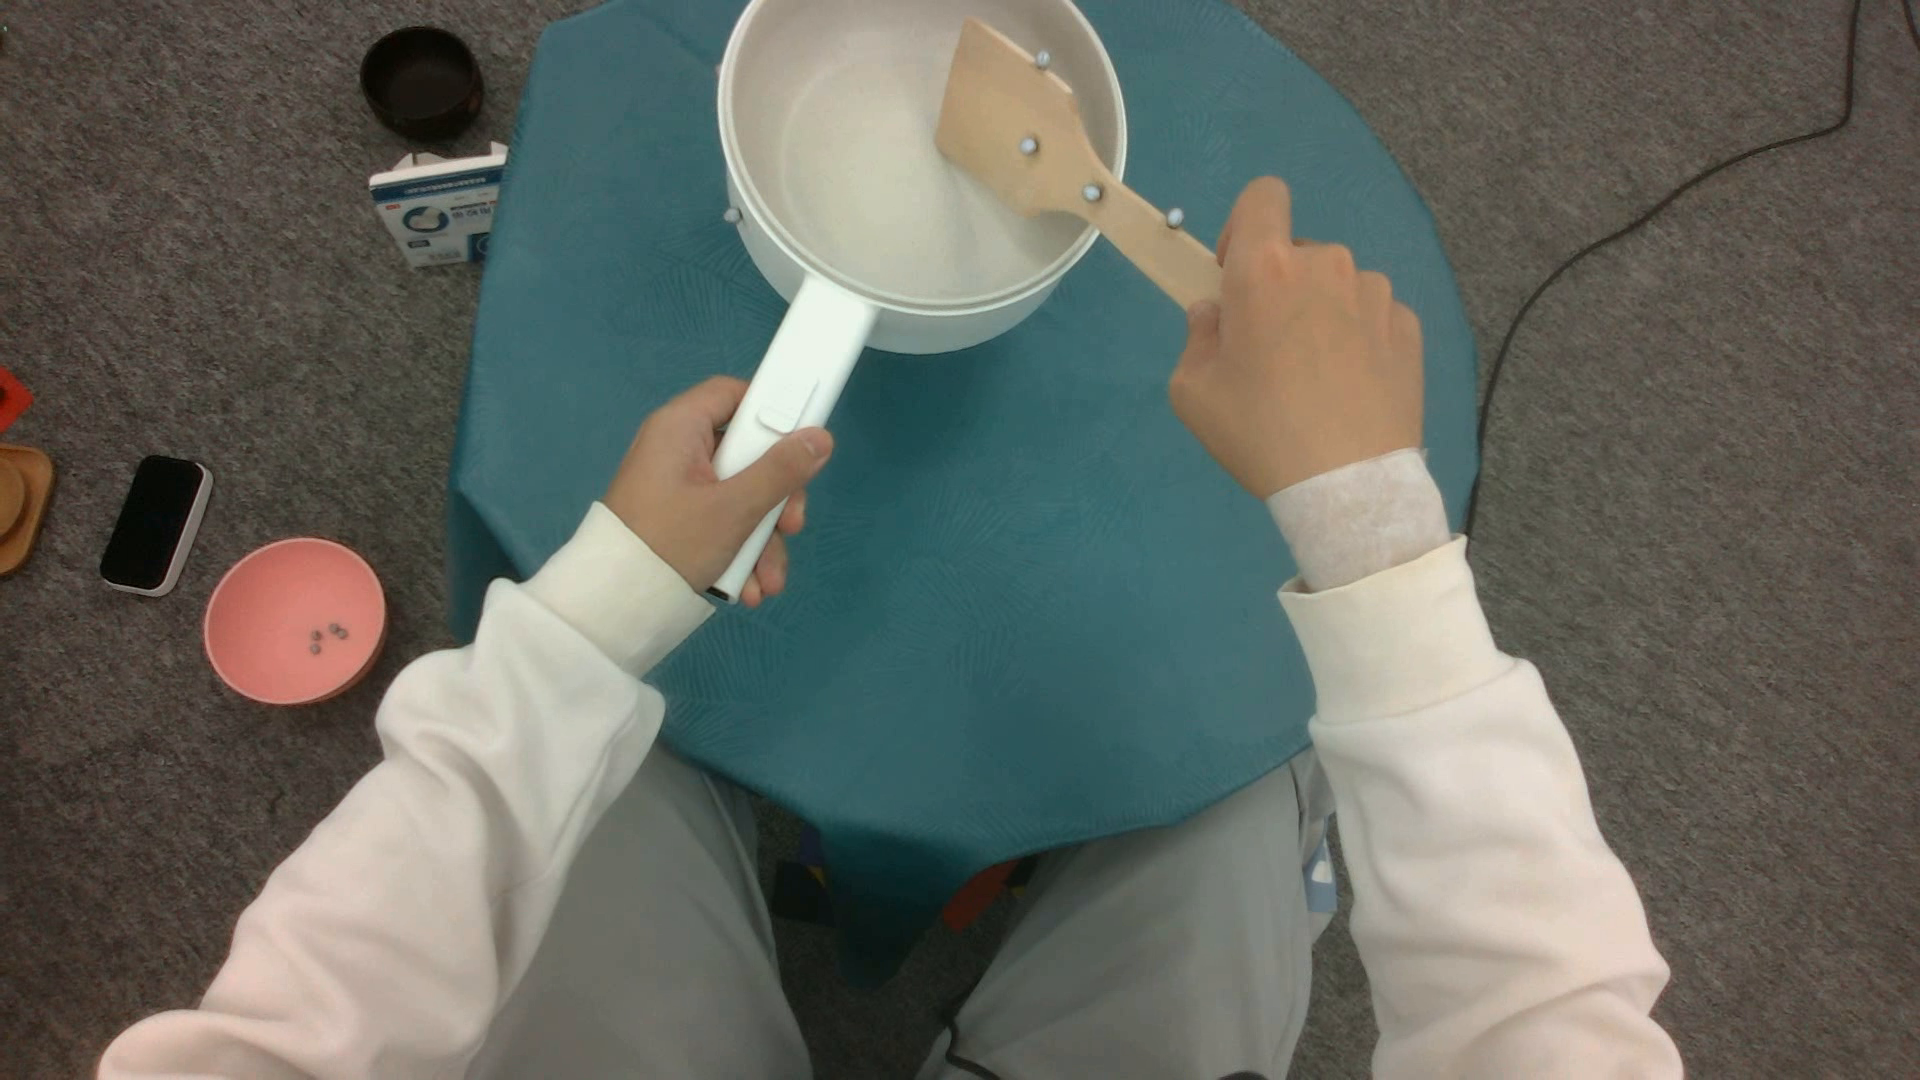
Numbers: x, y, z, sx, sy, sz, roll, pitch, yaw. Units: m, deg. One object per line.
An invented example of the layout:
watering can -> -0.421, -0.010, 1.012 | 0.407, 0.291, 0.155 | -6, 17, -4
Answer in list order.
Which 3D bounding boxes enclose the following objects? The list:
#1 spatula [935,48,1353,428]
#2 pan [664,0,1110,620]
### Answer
spatula -> 0.077, -0.143, 0.646 | 0.011, 0.072, 0.293 | -14, 46, -35
pan -> -0.057, -0.123, 0.715 | 0.201, 0.102, 0.355 | 23, 76, -4
